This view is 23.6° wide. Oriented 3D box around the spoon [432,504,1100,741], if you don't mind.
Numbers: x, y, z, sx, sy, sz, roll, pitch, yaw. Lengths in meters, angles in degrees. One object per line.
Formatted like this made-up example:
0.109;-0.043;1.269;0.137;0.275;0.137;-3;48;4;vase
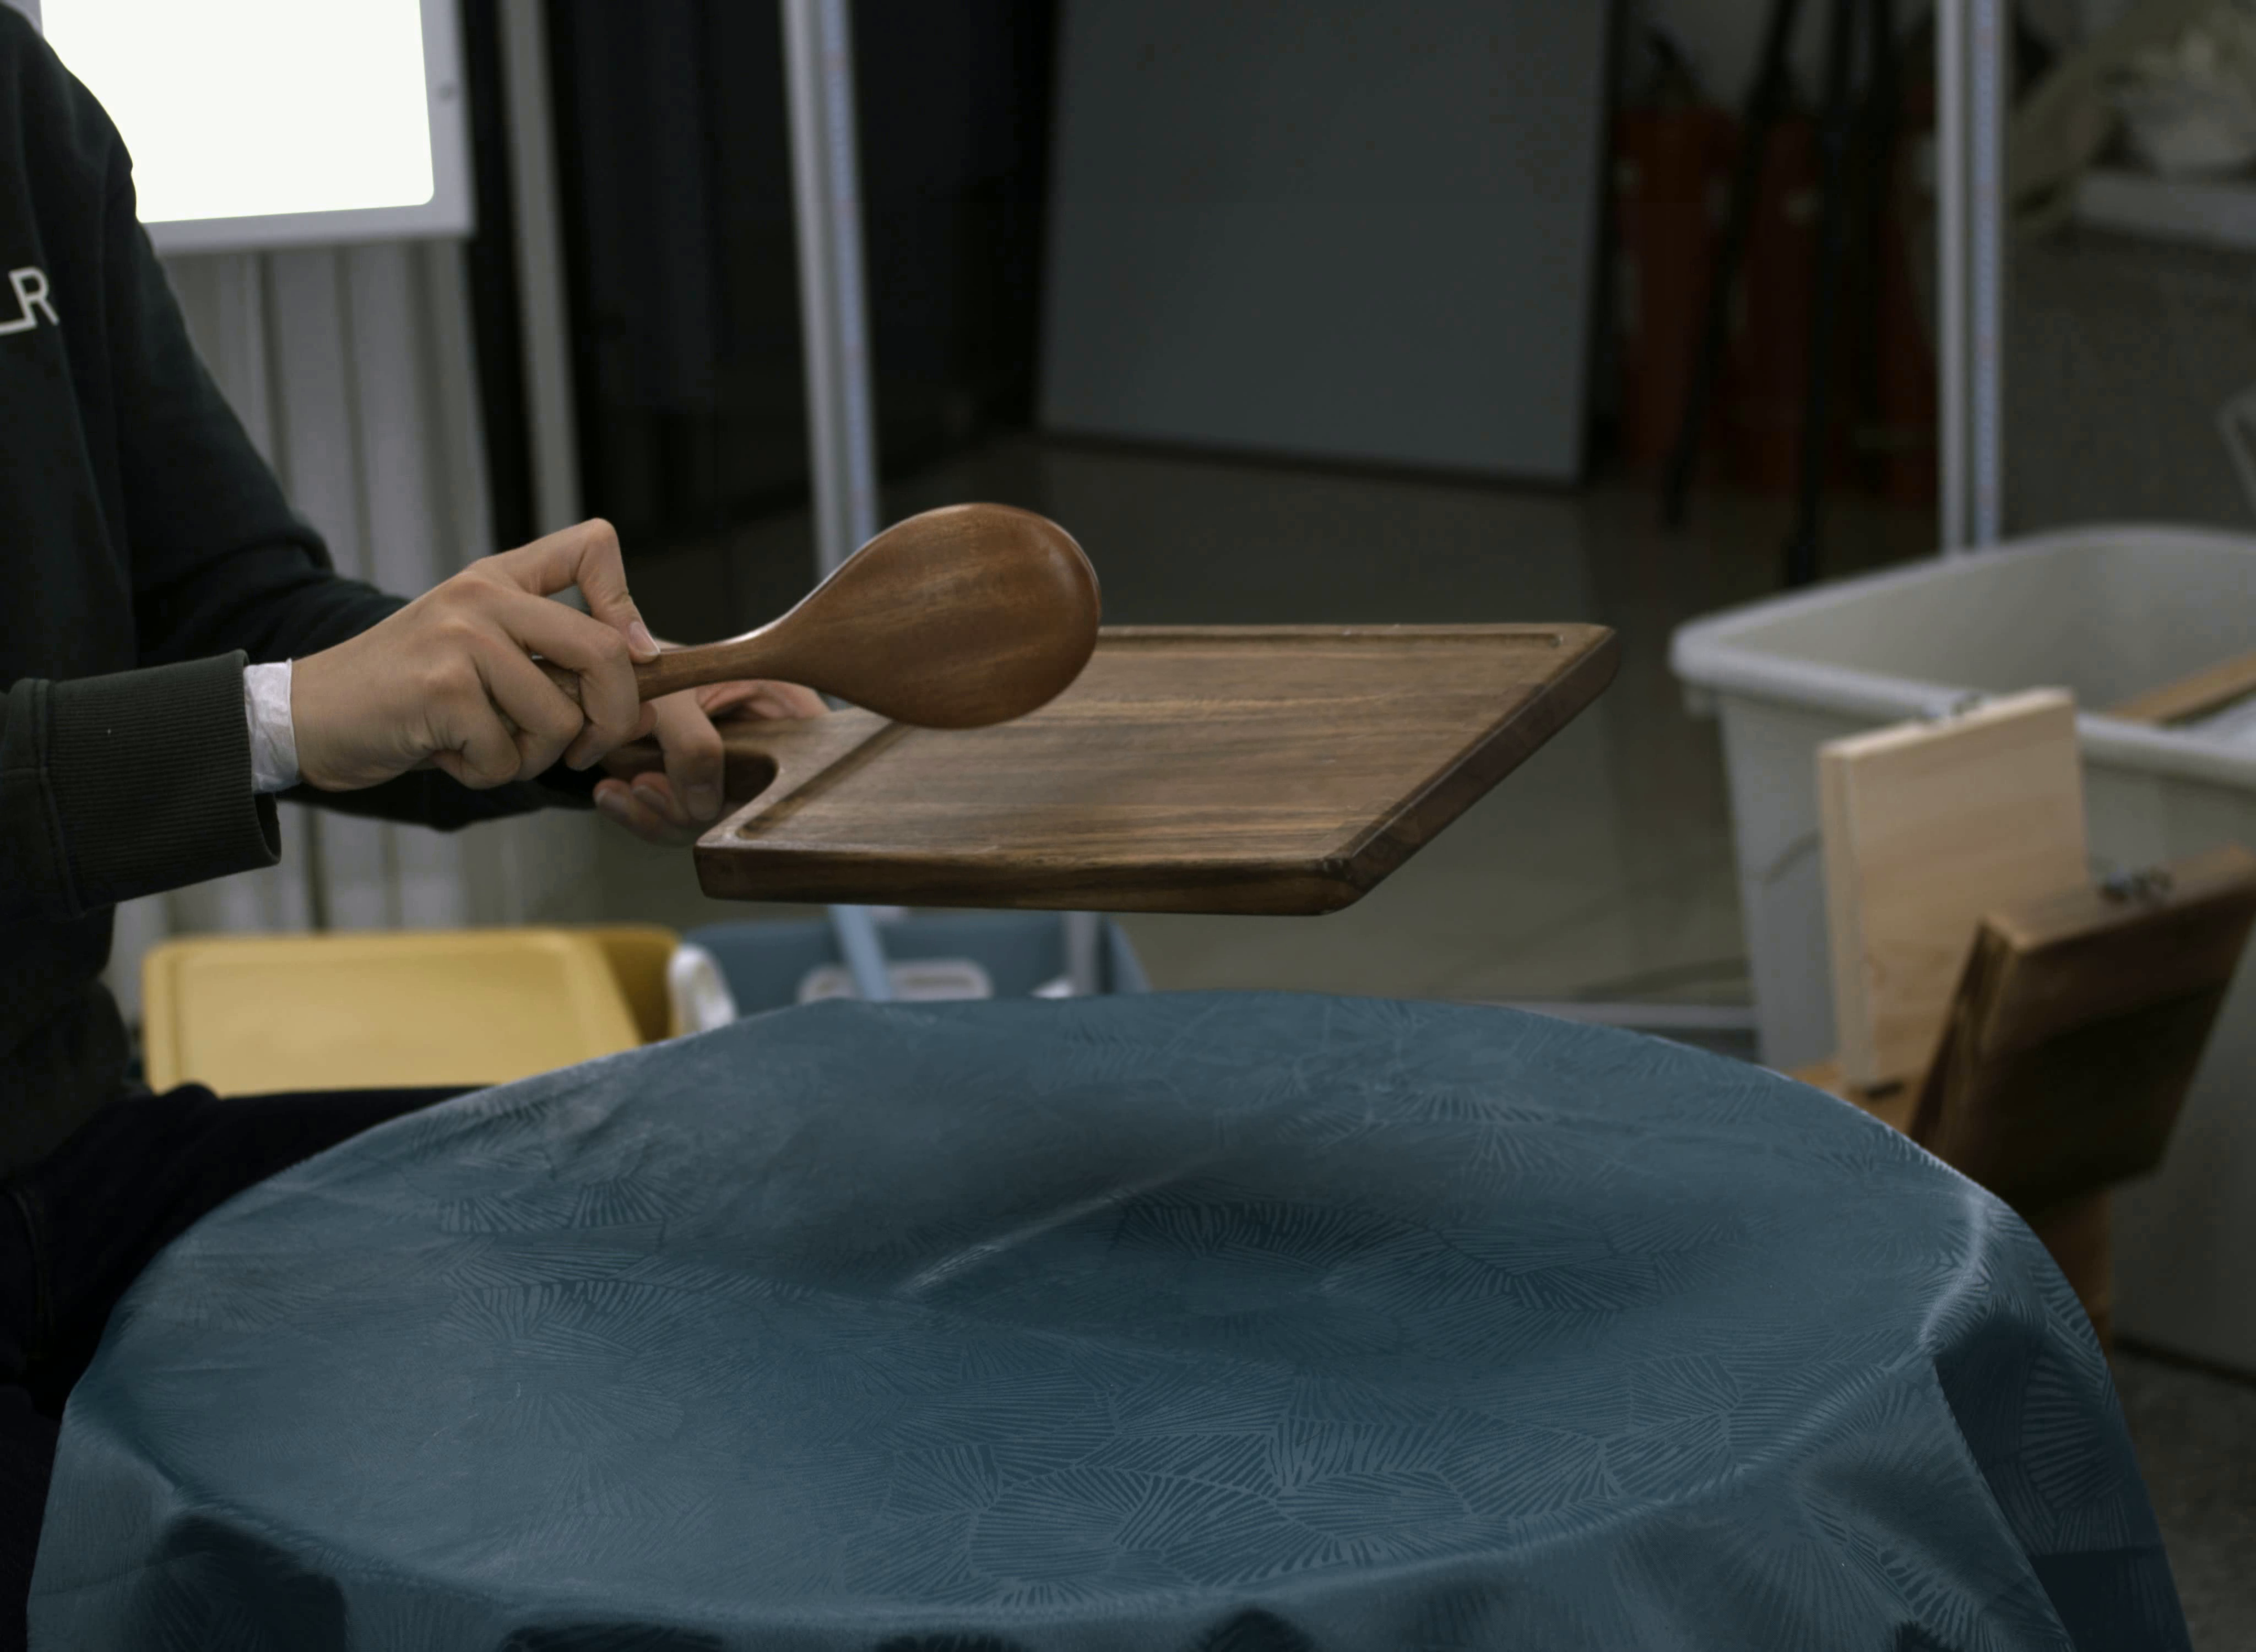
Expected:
-0.114;-0.054;1.712;0.213;0.076;0.017;-9;15;-2;spoon

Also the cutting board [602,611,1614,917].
-0.031;-0.021;1.778;0.354;0.023;0.198;0;25;35;cutting board
